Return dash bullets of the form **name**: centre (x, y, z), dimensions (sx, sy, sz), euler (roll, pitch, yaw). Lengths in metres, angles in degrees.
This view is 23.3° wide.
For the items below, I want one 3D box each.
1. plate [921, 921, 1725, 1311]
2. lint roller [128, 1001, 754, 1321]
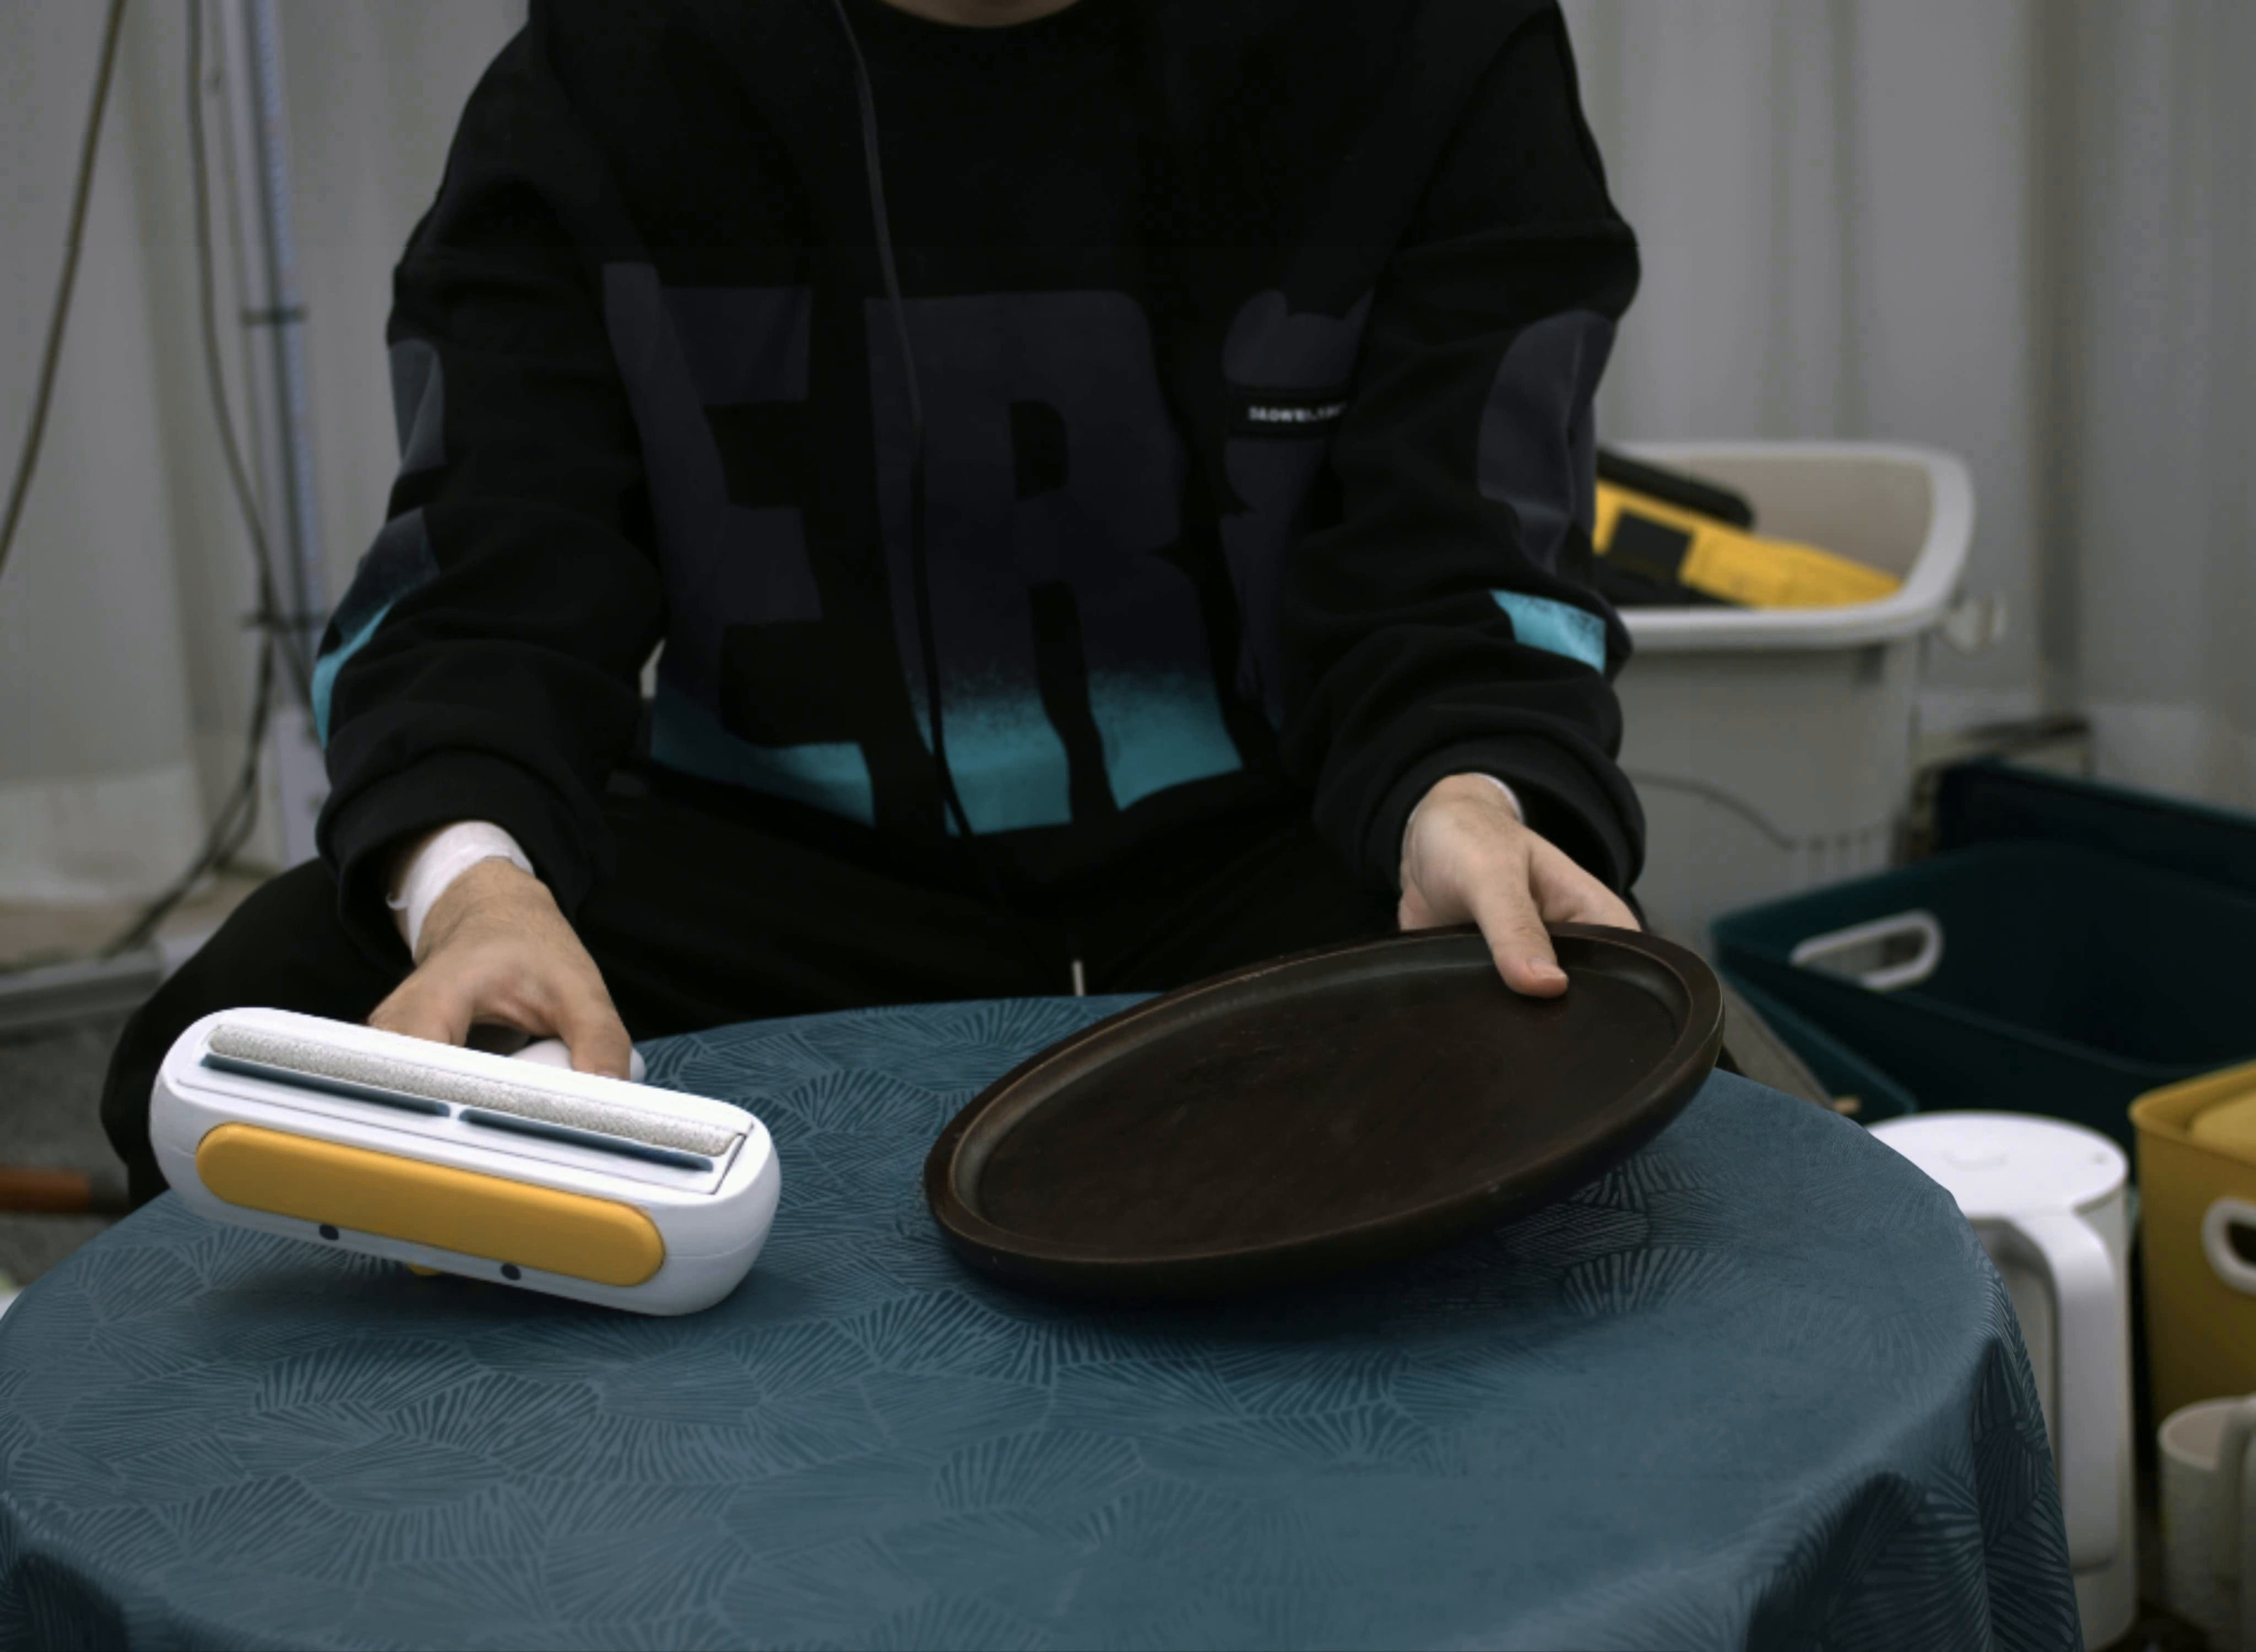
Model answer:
- **plate**: centre (0.060, 0.087, 1.676), dimensions (0.254, 0.029, 0.256), euler (-15, 15, 4)
- **lint roller**: centre (-0.191, 0.089, 1.704), dimensions (0.193, 0.074, 0.193), euler (8, 20, 14)
